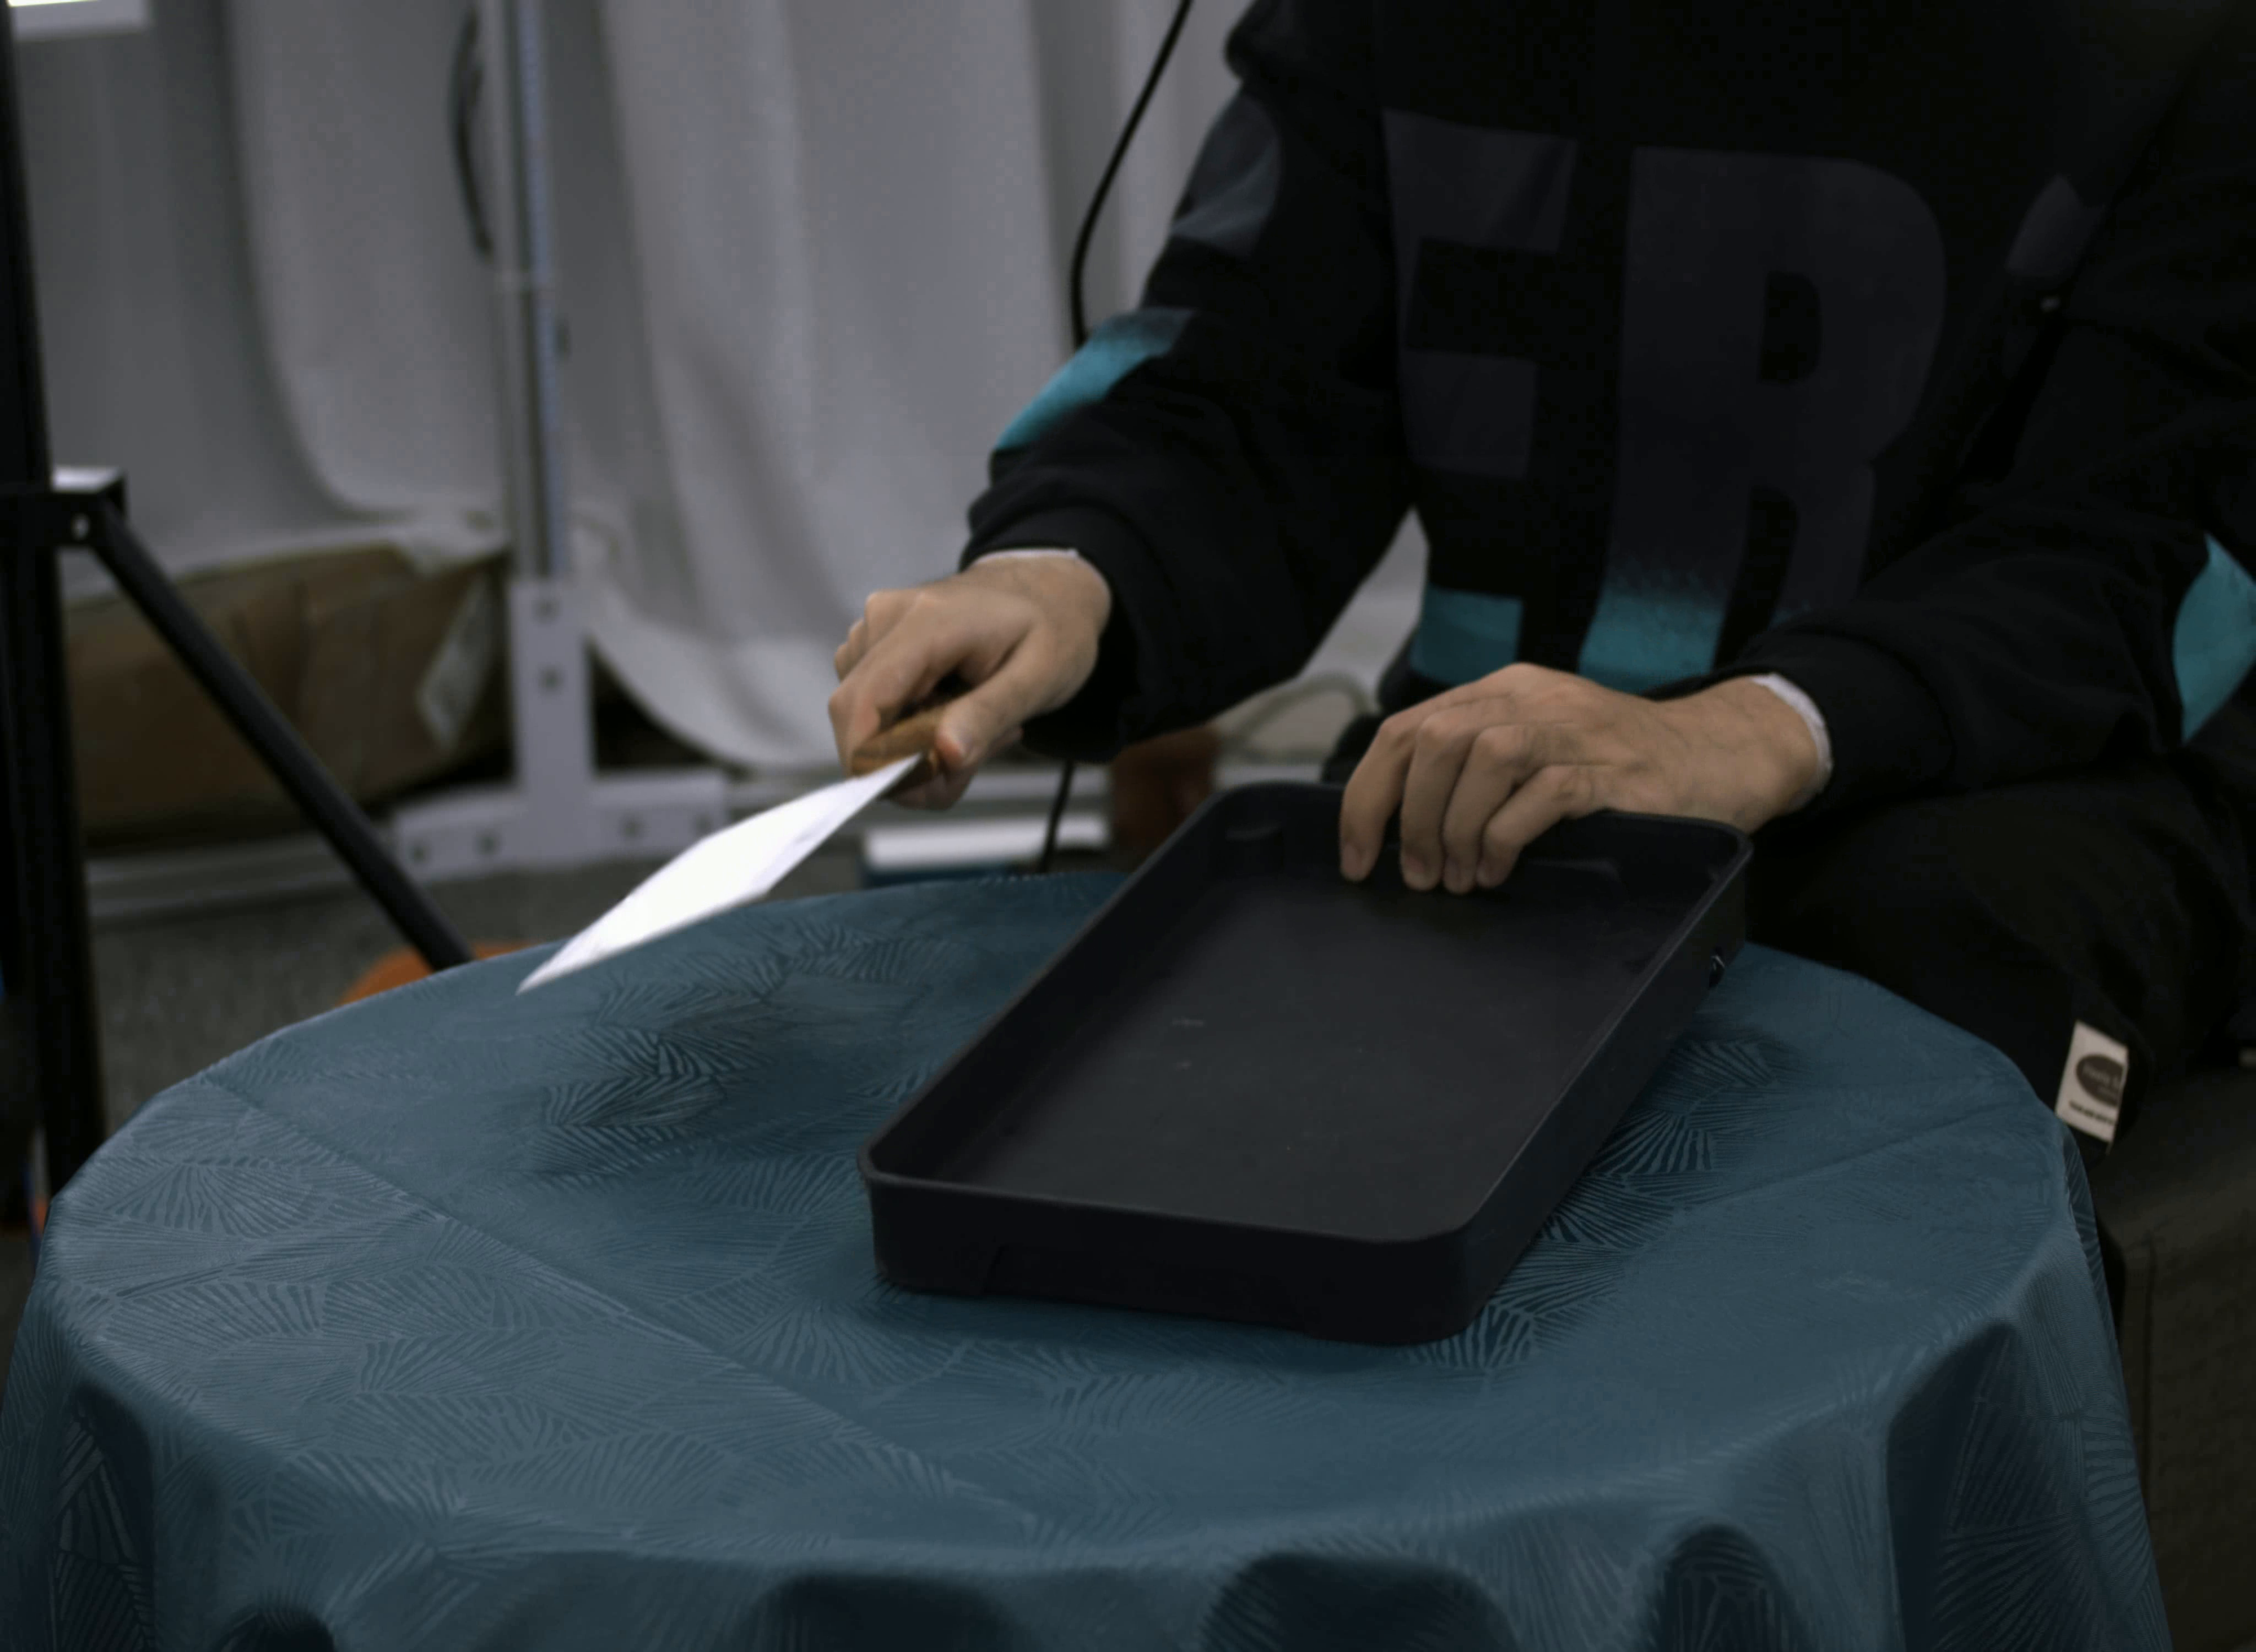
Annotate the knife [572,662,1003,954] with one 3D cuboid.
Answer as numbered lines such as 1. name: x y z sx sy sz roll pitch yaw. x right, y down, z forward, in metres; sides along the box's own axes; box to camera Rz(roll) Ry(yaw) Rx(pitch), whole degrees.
1. knife: -0.110 -0.004 1.737 0.093 0.021 0.303 -22 7 17

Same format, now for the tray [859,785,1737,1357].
1. tray: 0.059 0.065 1.576 0.186 0.037 0.315 4 23 21
